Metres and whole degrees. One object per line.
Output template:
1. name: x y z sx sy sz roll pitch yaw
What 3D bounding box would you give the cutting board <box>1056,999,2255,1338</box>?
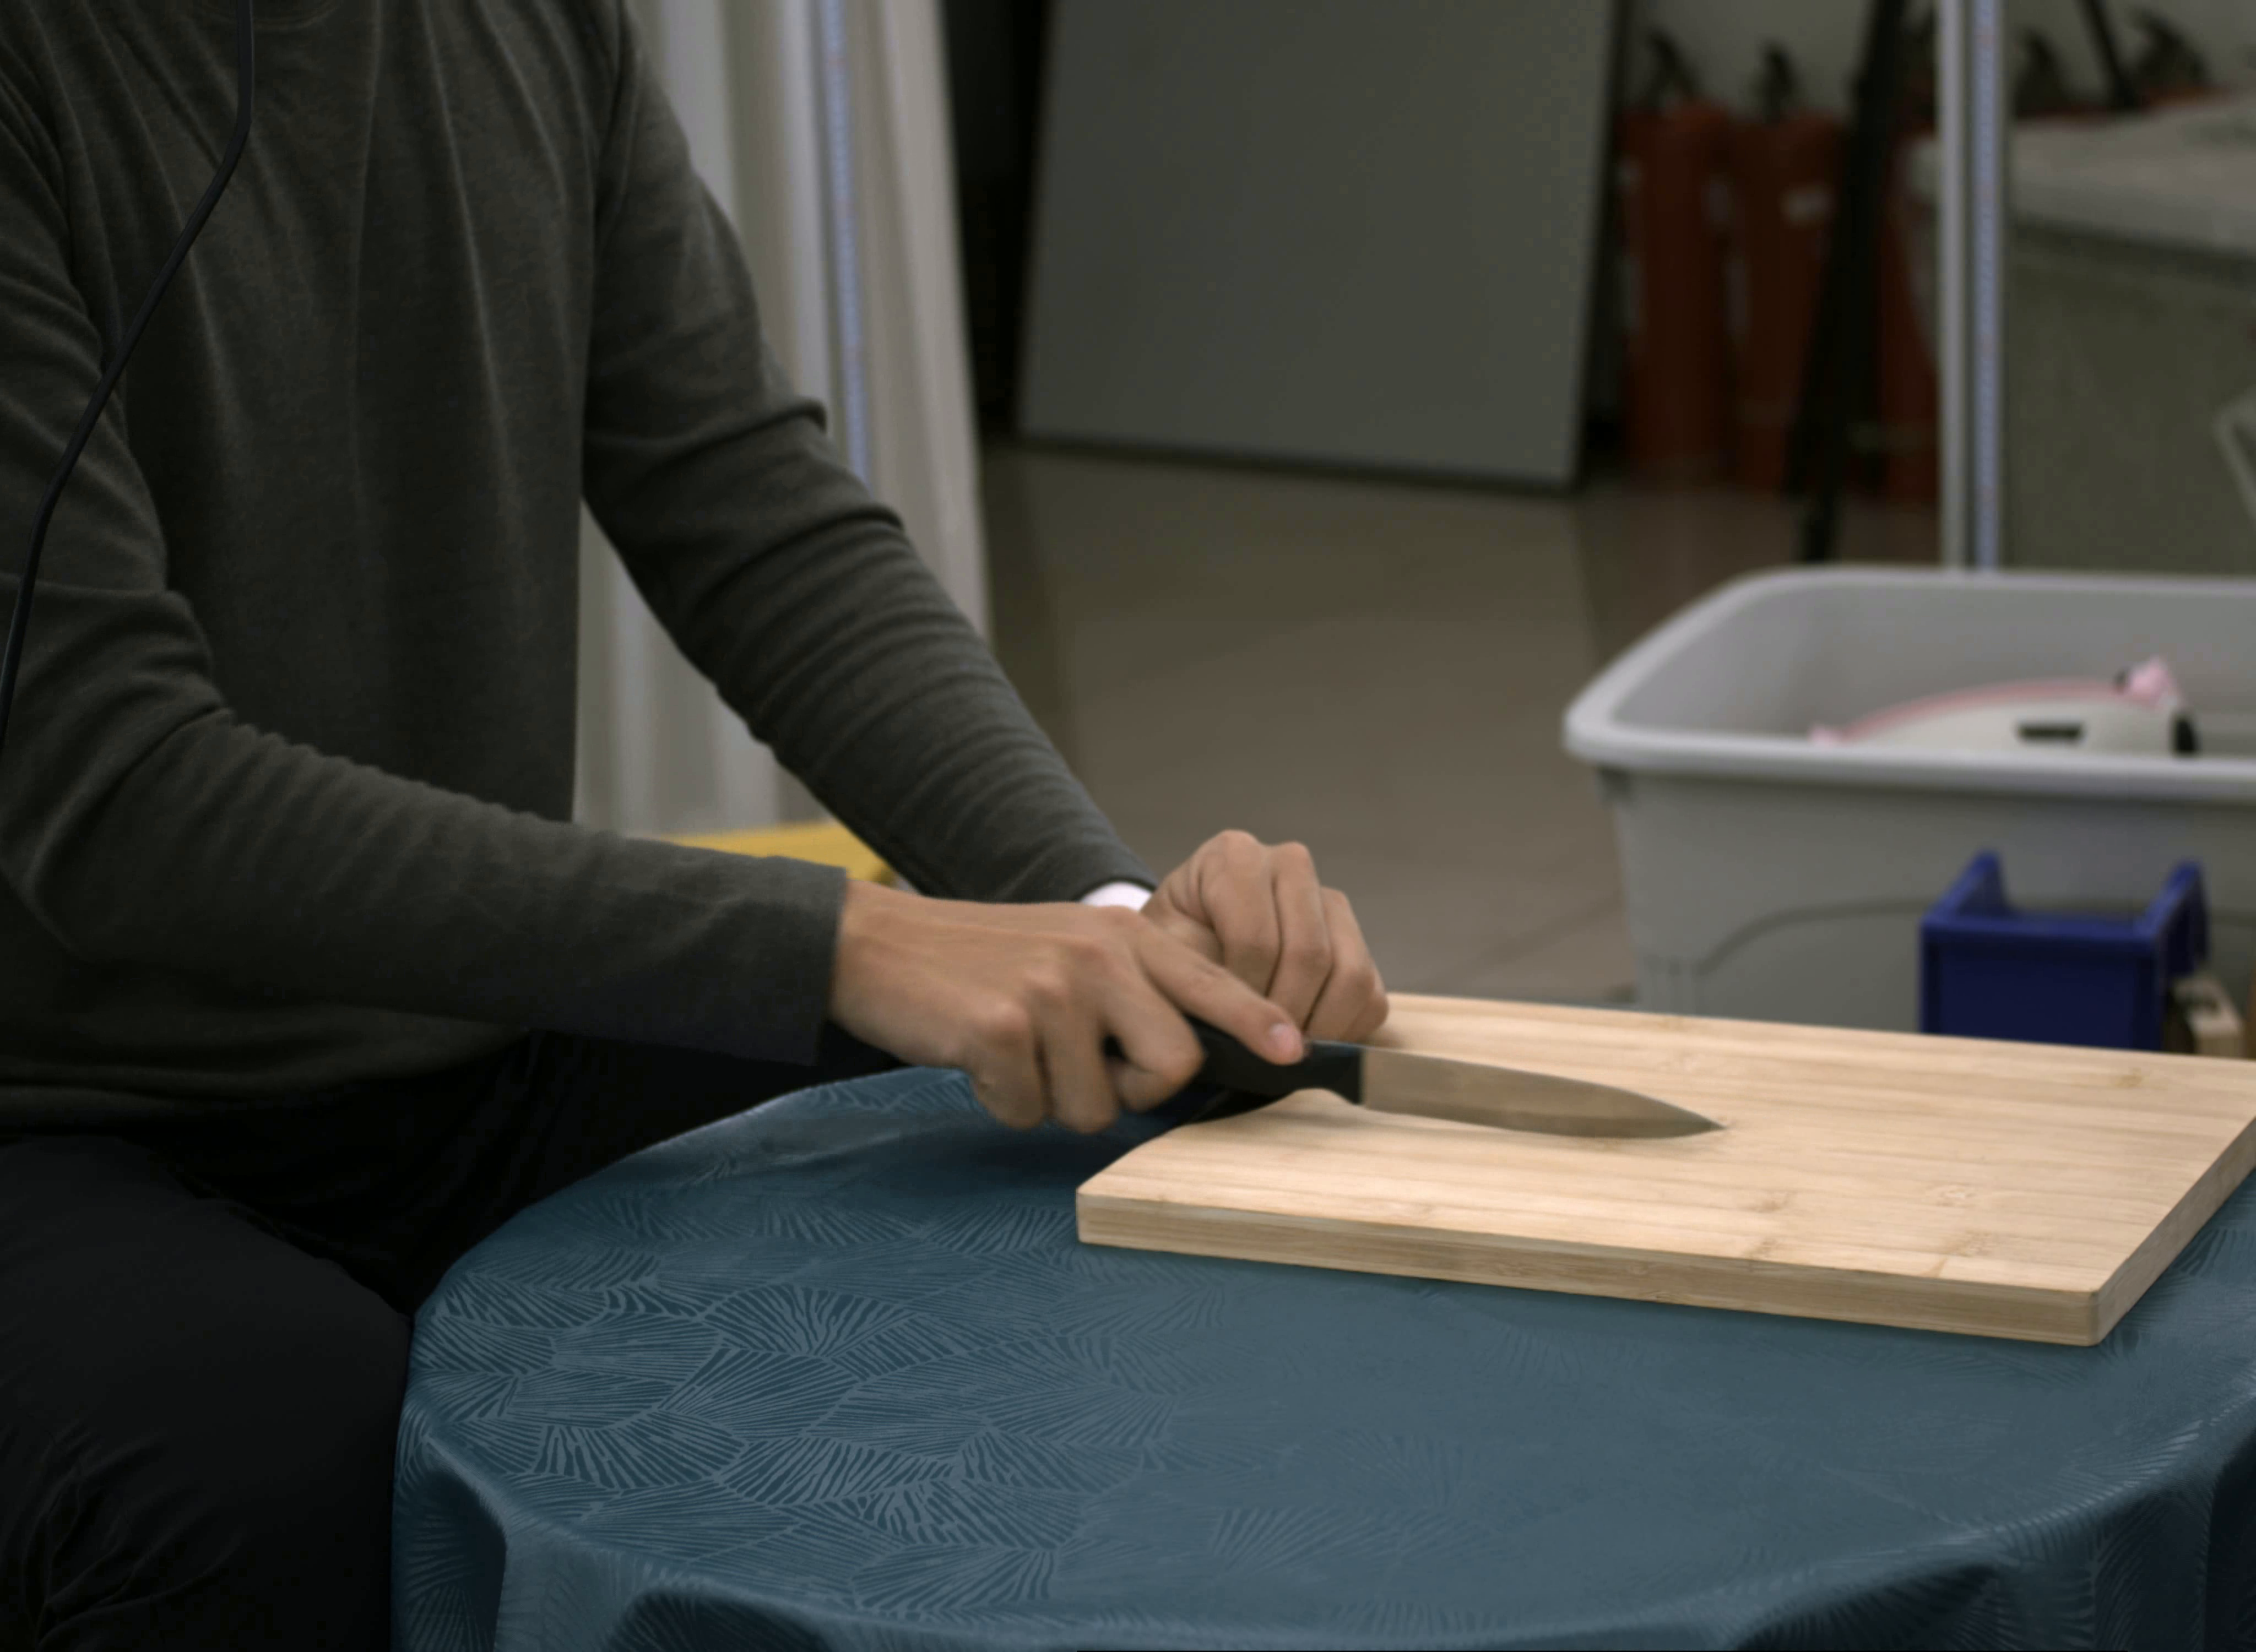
1. cutting board: 0.180 0.107 1.749 0.349 0.024 0.247 3 15 27

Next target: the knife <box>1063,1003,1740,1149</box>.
1. knife: 0.088 0.082 1.762 0.238 0.025 0.016 8 20 23
